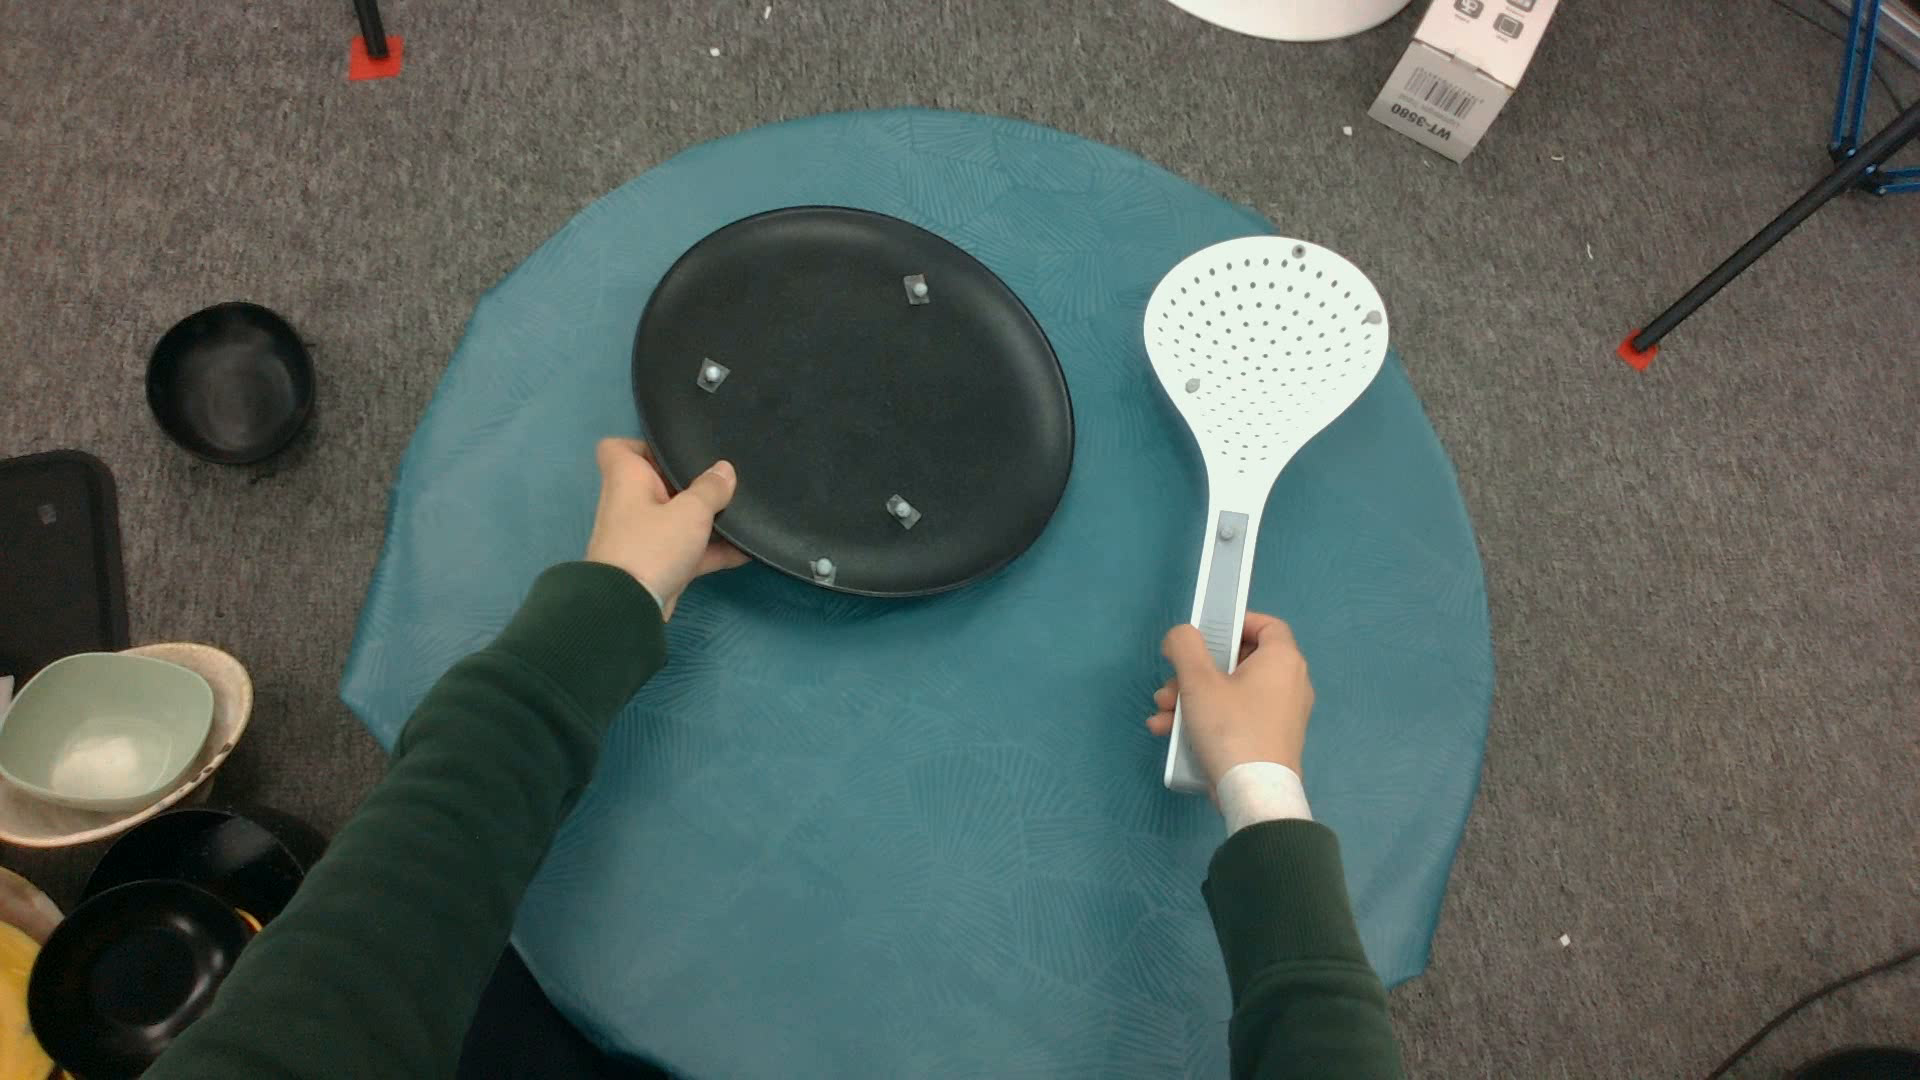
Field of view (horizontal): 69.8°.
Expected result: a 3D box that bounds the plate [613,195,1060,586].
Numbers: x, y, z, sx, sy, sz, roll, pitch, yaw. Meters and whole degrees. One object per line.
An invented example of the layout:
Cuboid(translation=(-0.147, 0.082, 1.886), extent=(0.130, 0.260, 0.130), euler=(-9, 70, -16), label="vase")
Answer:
Cuboid(translation=(-0.063, -0.083, 0.740), extent=(0.244, 0.023, 0.245), euler=(9, 61, -16), label="plate")

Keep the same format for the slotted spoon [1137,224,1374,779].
Cuboid(translation=(0.146, -0.035, 0.746), extent=(0.136, 0.045, 0.351), euler=(10, 56, 8), label="slotted spoon")
